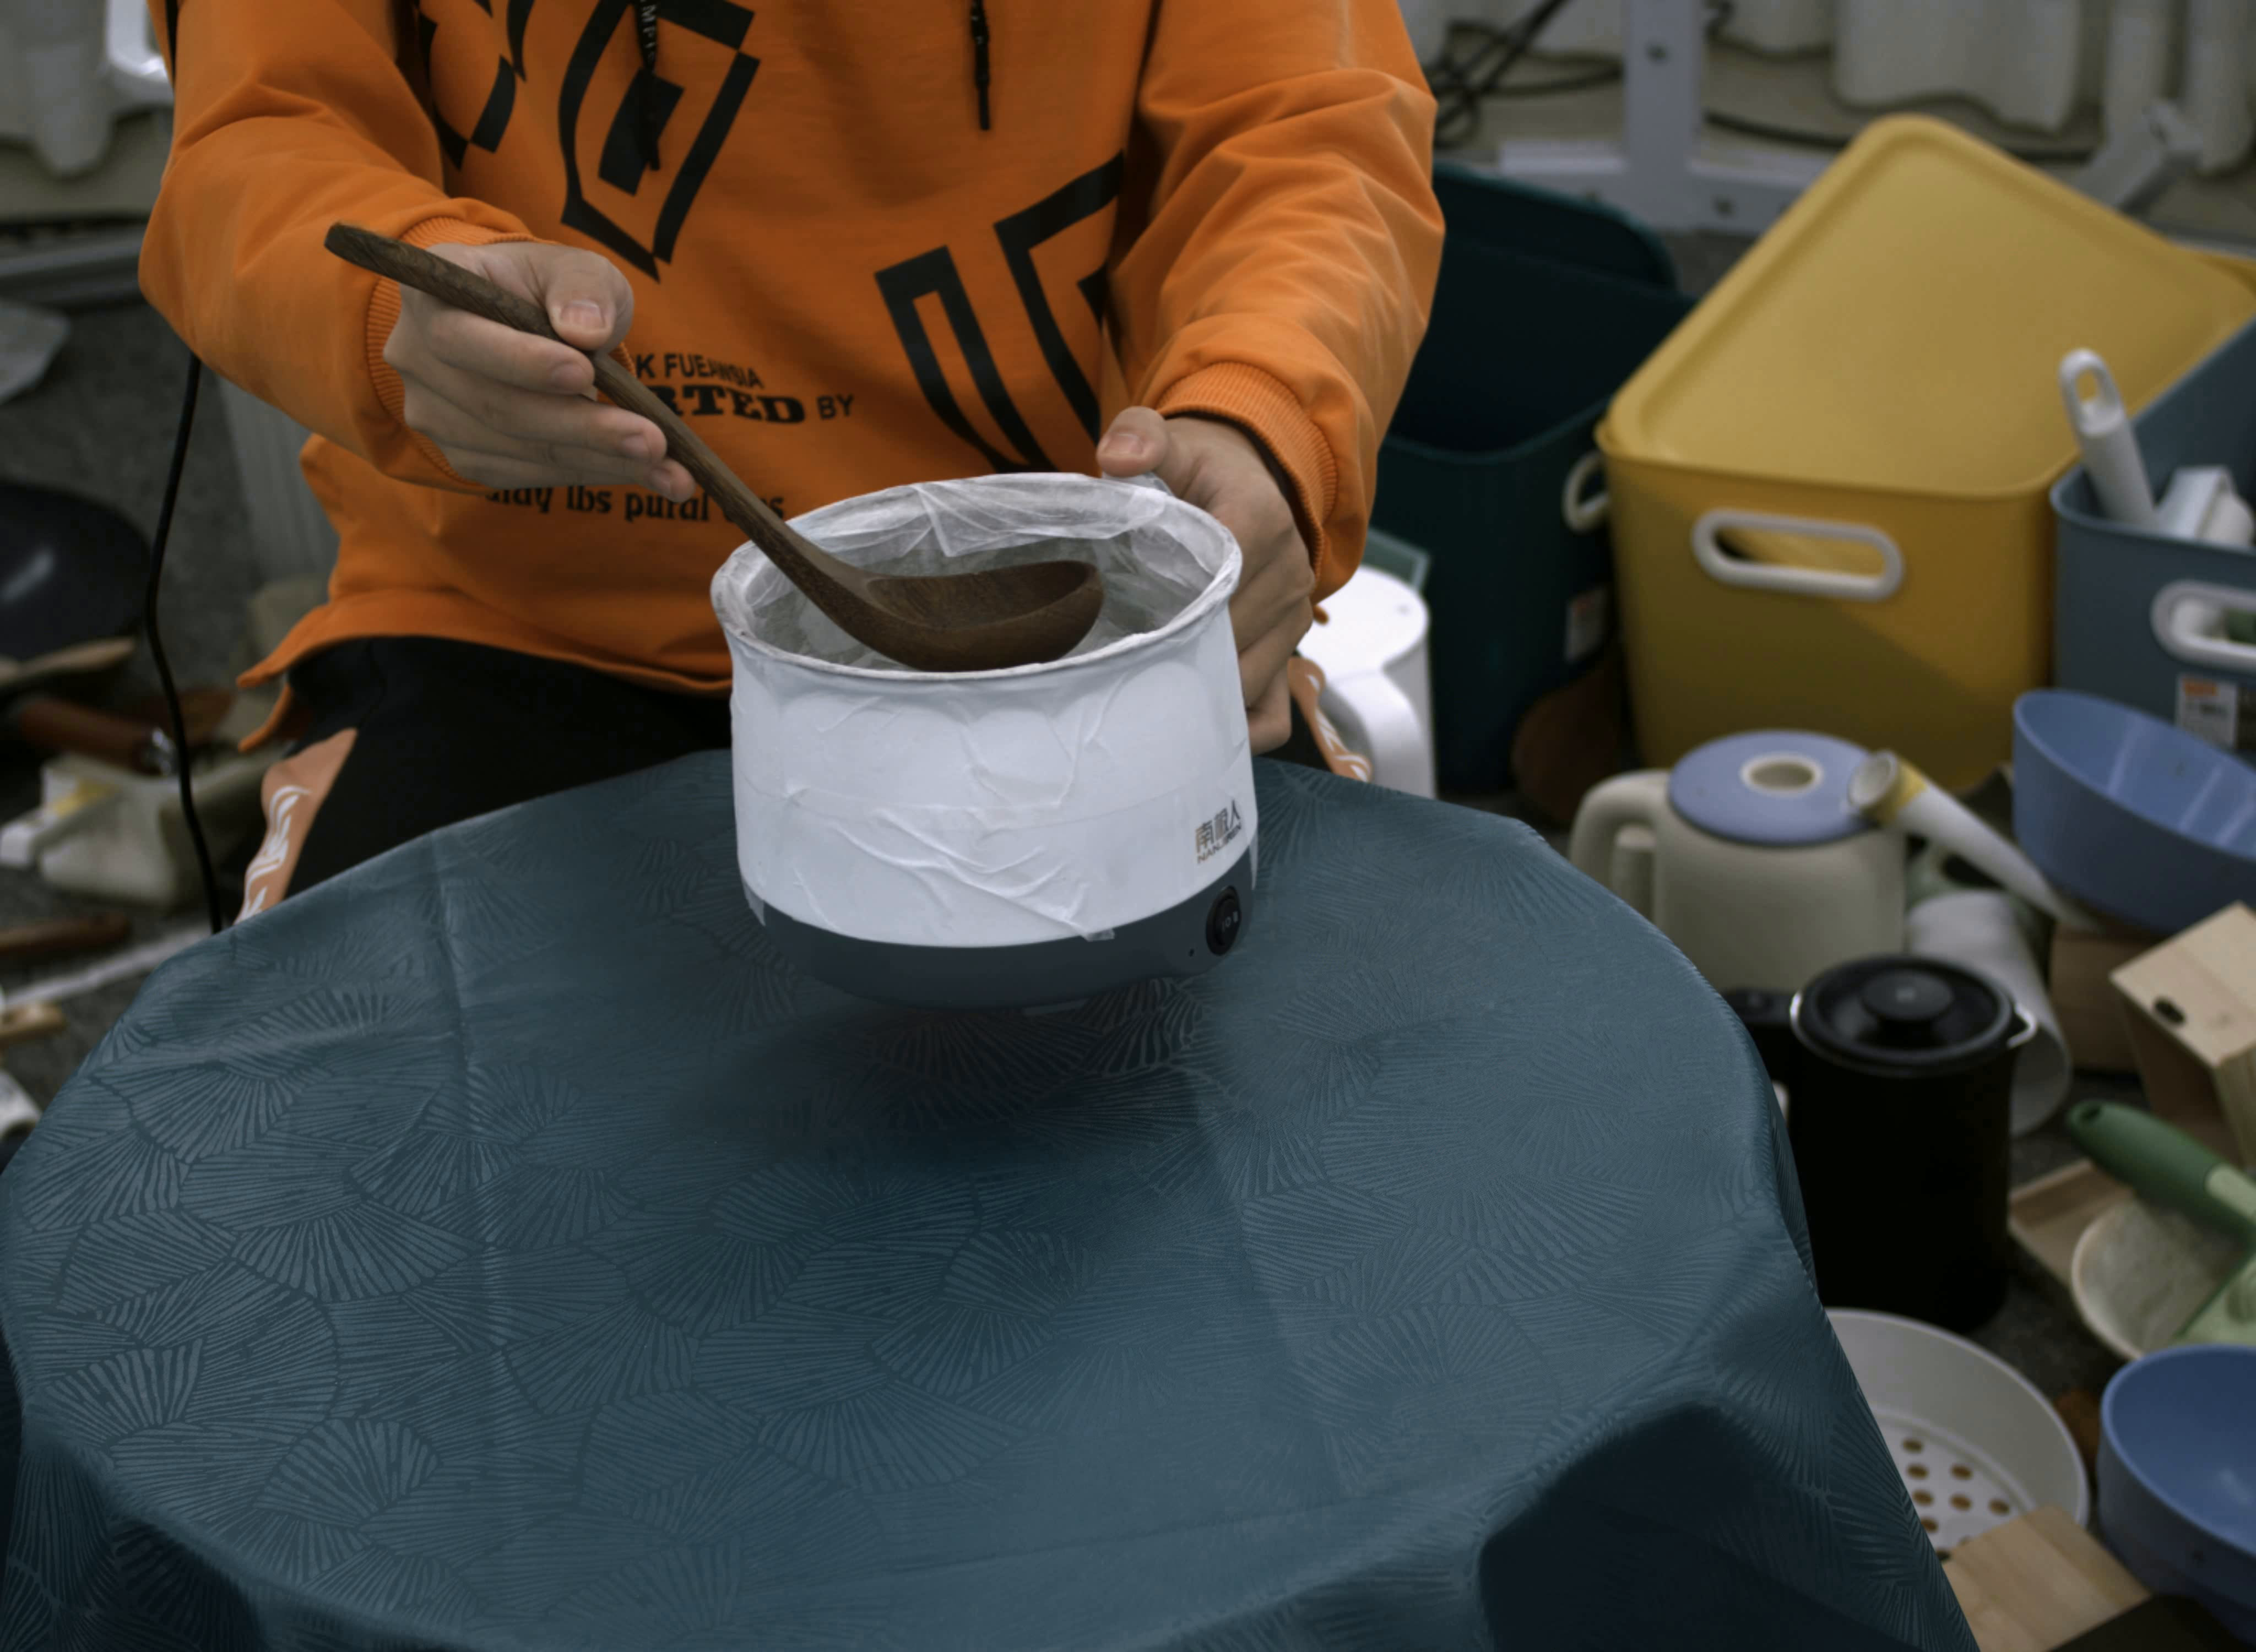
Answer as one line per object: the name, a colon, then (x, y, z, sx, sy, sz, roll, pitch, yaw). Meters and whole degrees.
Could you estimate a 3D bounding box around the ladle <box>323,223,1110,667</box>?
ladle: (-0.129, -0.135, 1.822, 0.273, 0.071, 0.076, 37, 8, -9)

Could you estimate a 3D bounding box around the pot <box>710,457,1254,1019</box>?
pot: (-0.034, -0.037, 1.912, 0.177, 0.135, 0.237, 9, 27, 26)
